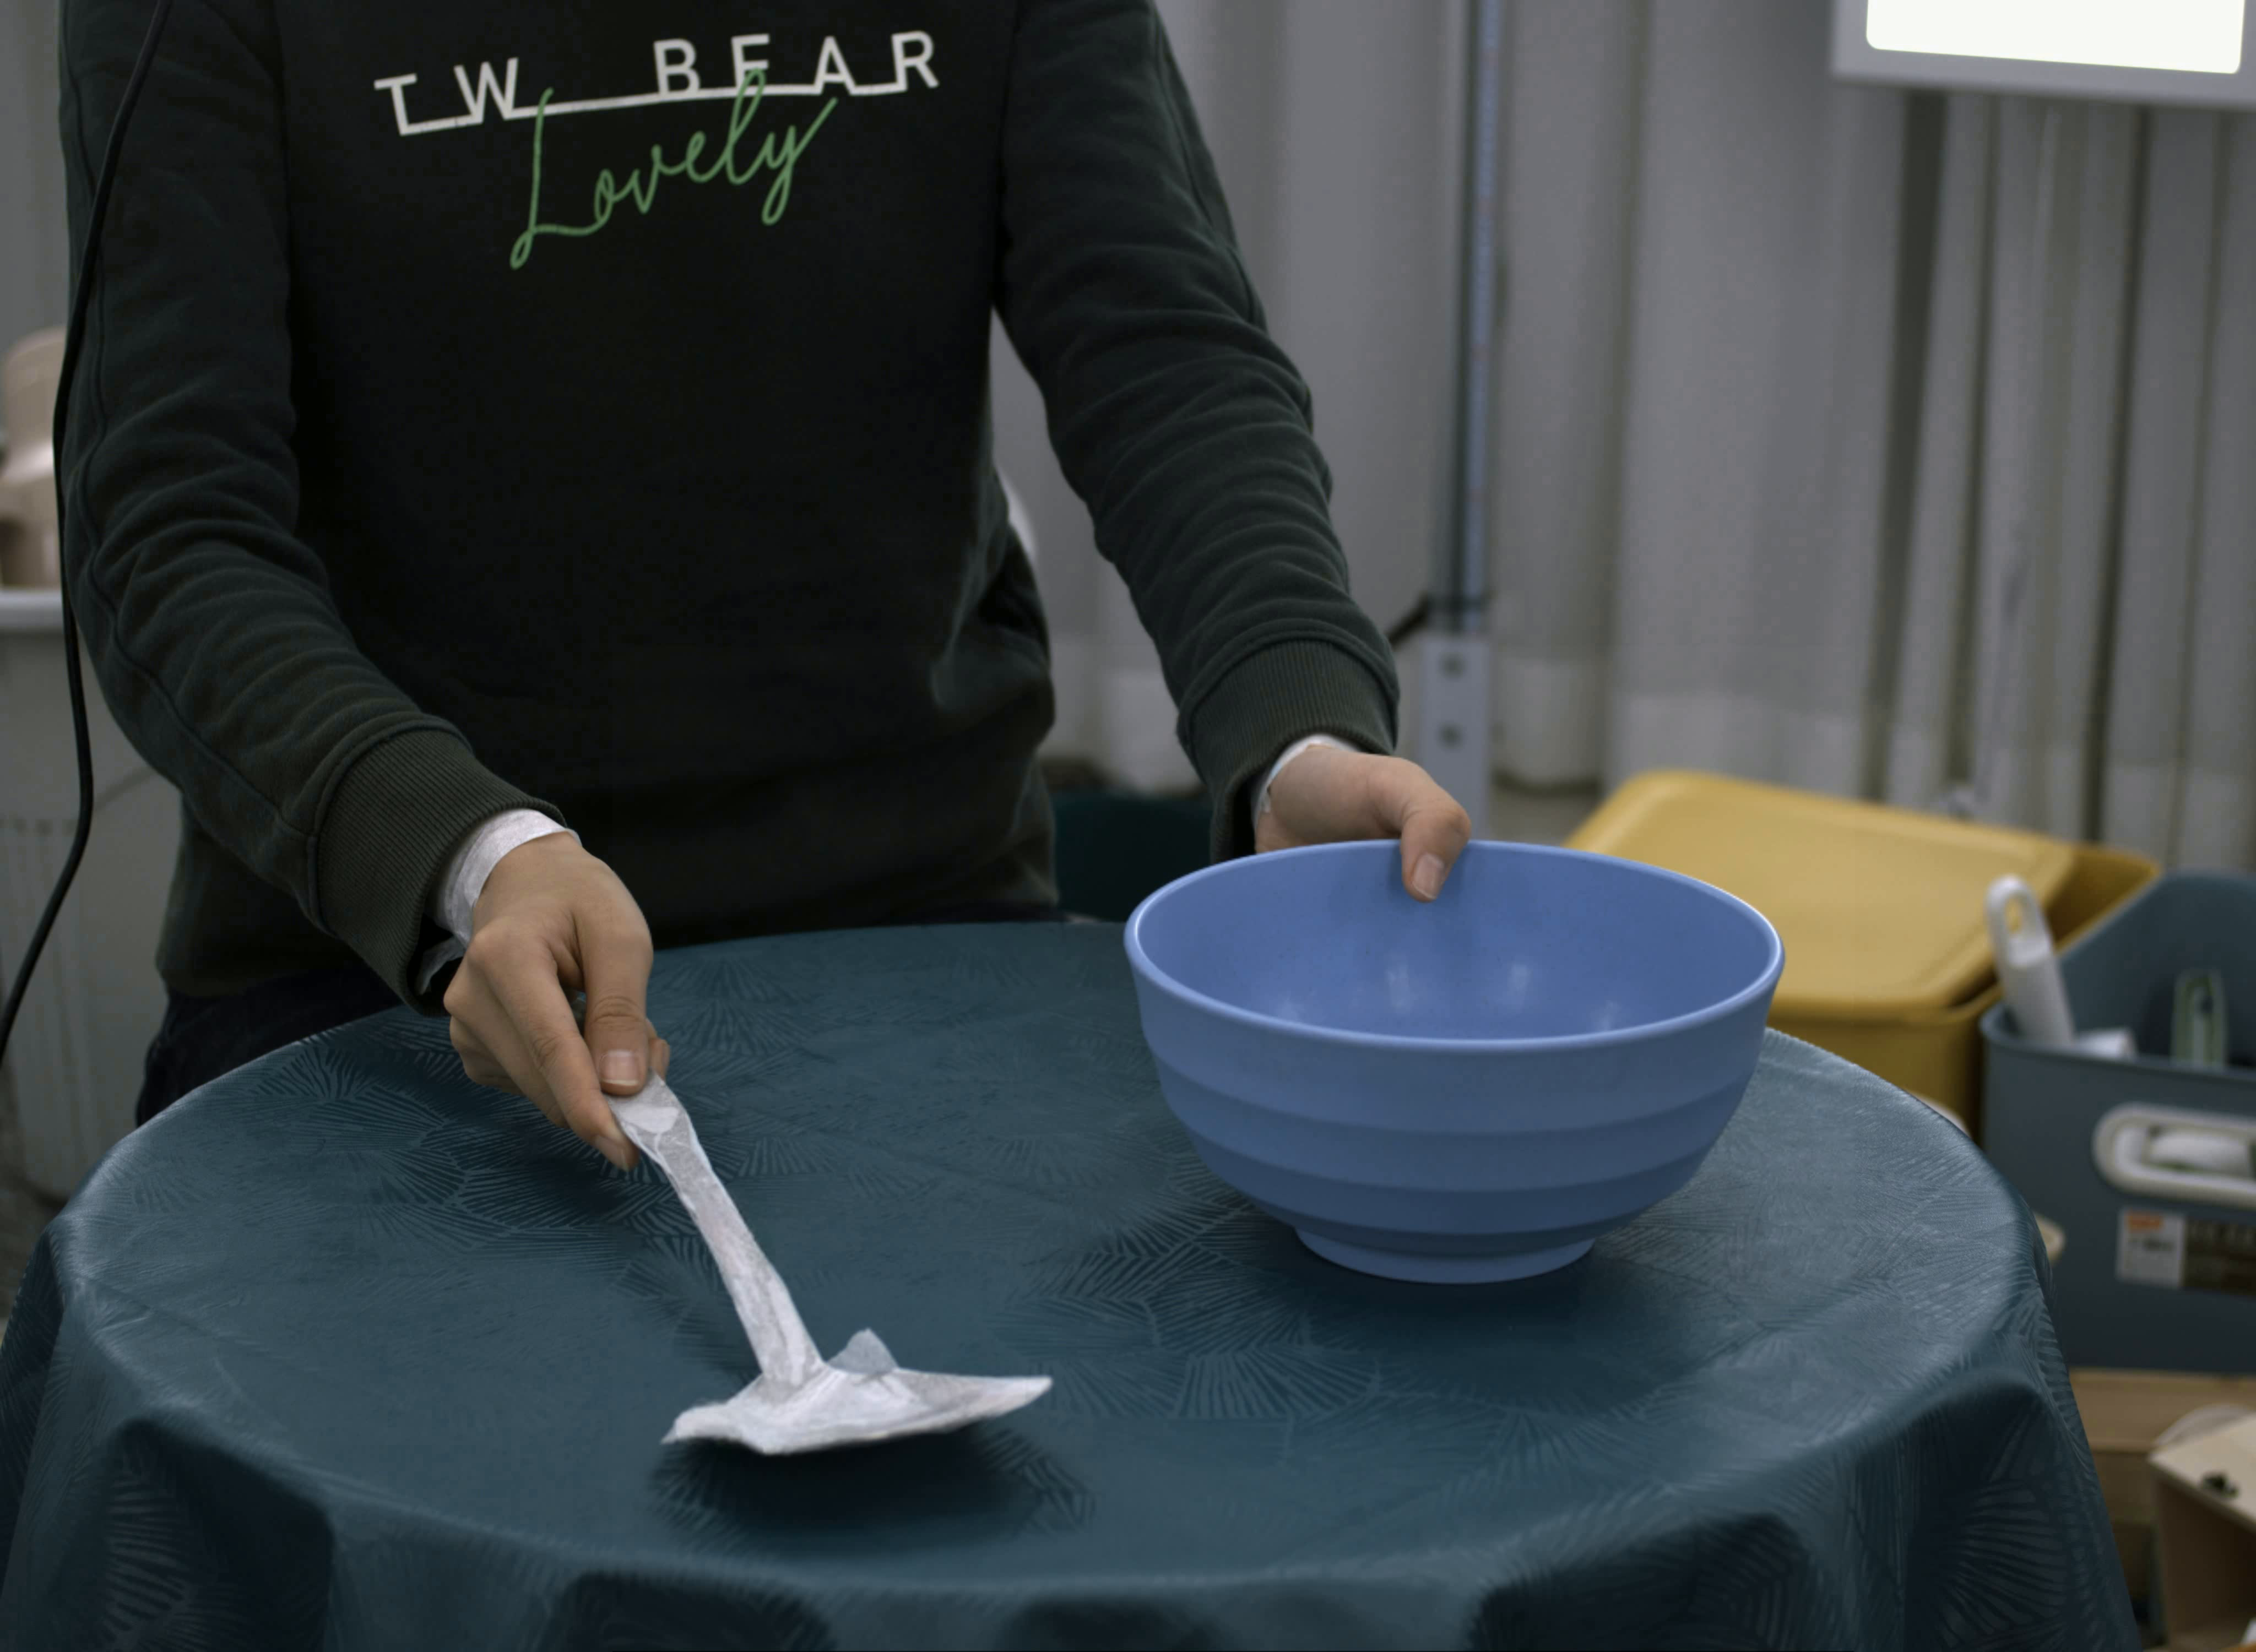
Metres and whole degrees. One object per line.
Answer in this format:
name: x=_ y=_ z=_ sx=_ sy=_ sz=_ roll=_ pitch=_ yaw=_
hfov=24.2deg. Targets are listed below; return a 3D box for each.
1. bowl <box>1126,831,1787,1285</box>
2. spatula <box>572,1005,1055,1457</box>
bowl: x=0.097 y=0.076 z=1.577 sx=0.196 sy=0.096 sz=0.195 roll=1 pitch=19 yaw=0
spatula: x=-0.116 y=0.108 z=1.522 sx=0.099 sy=0.045 sz=0.360 roll=-9 pitch=25 yaw=-17
